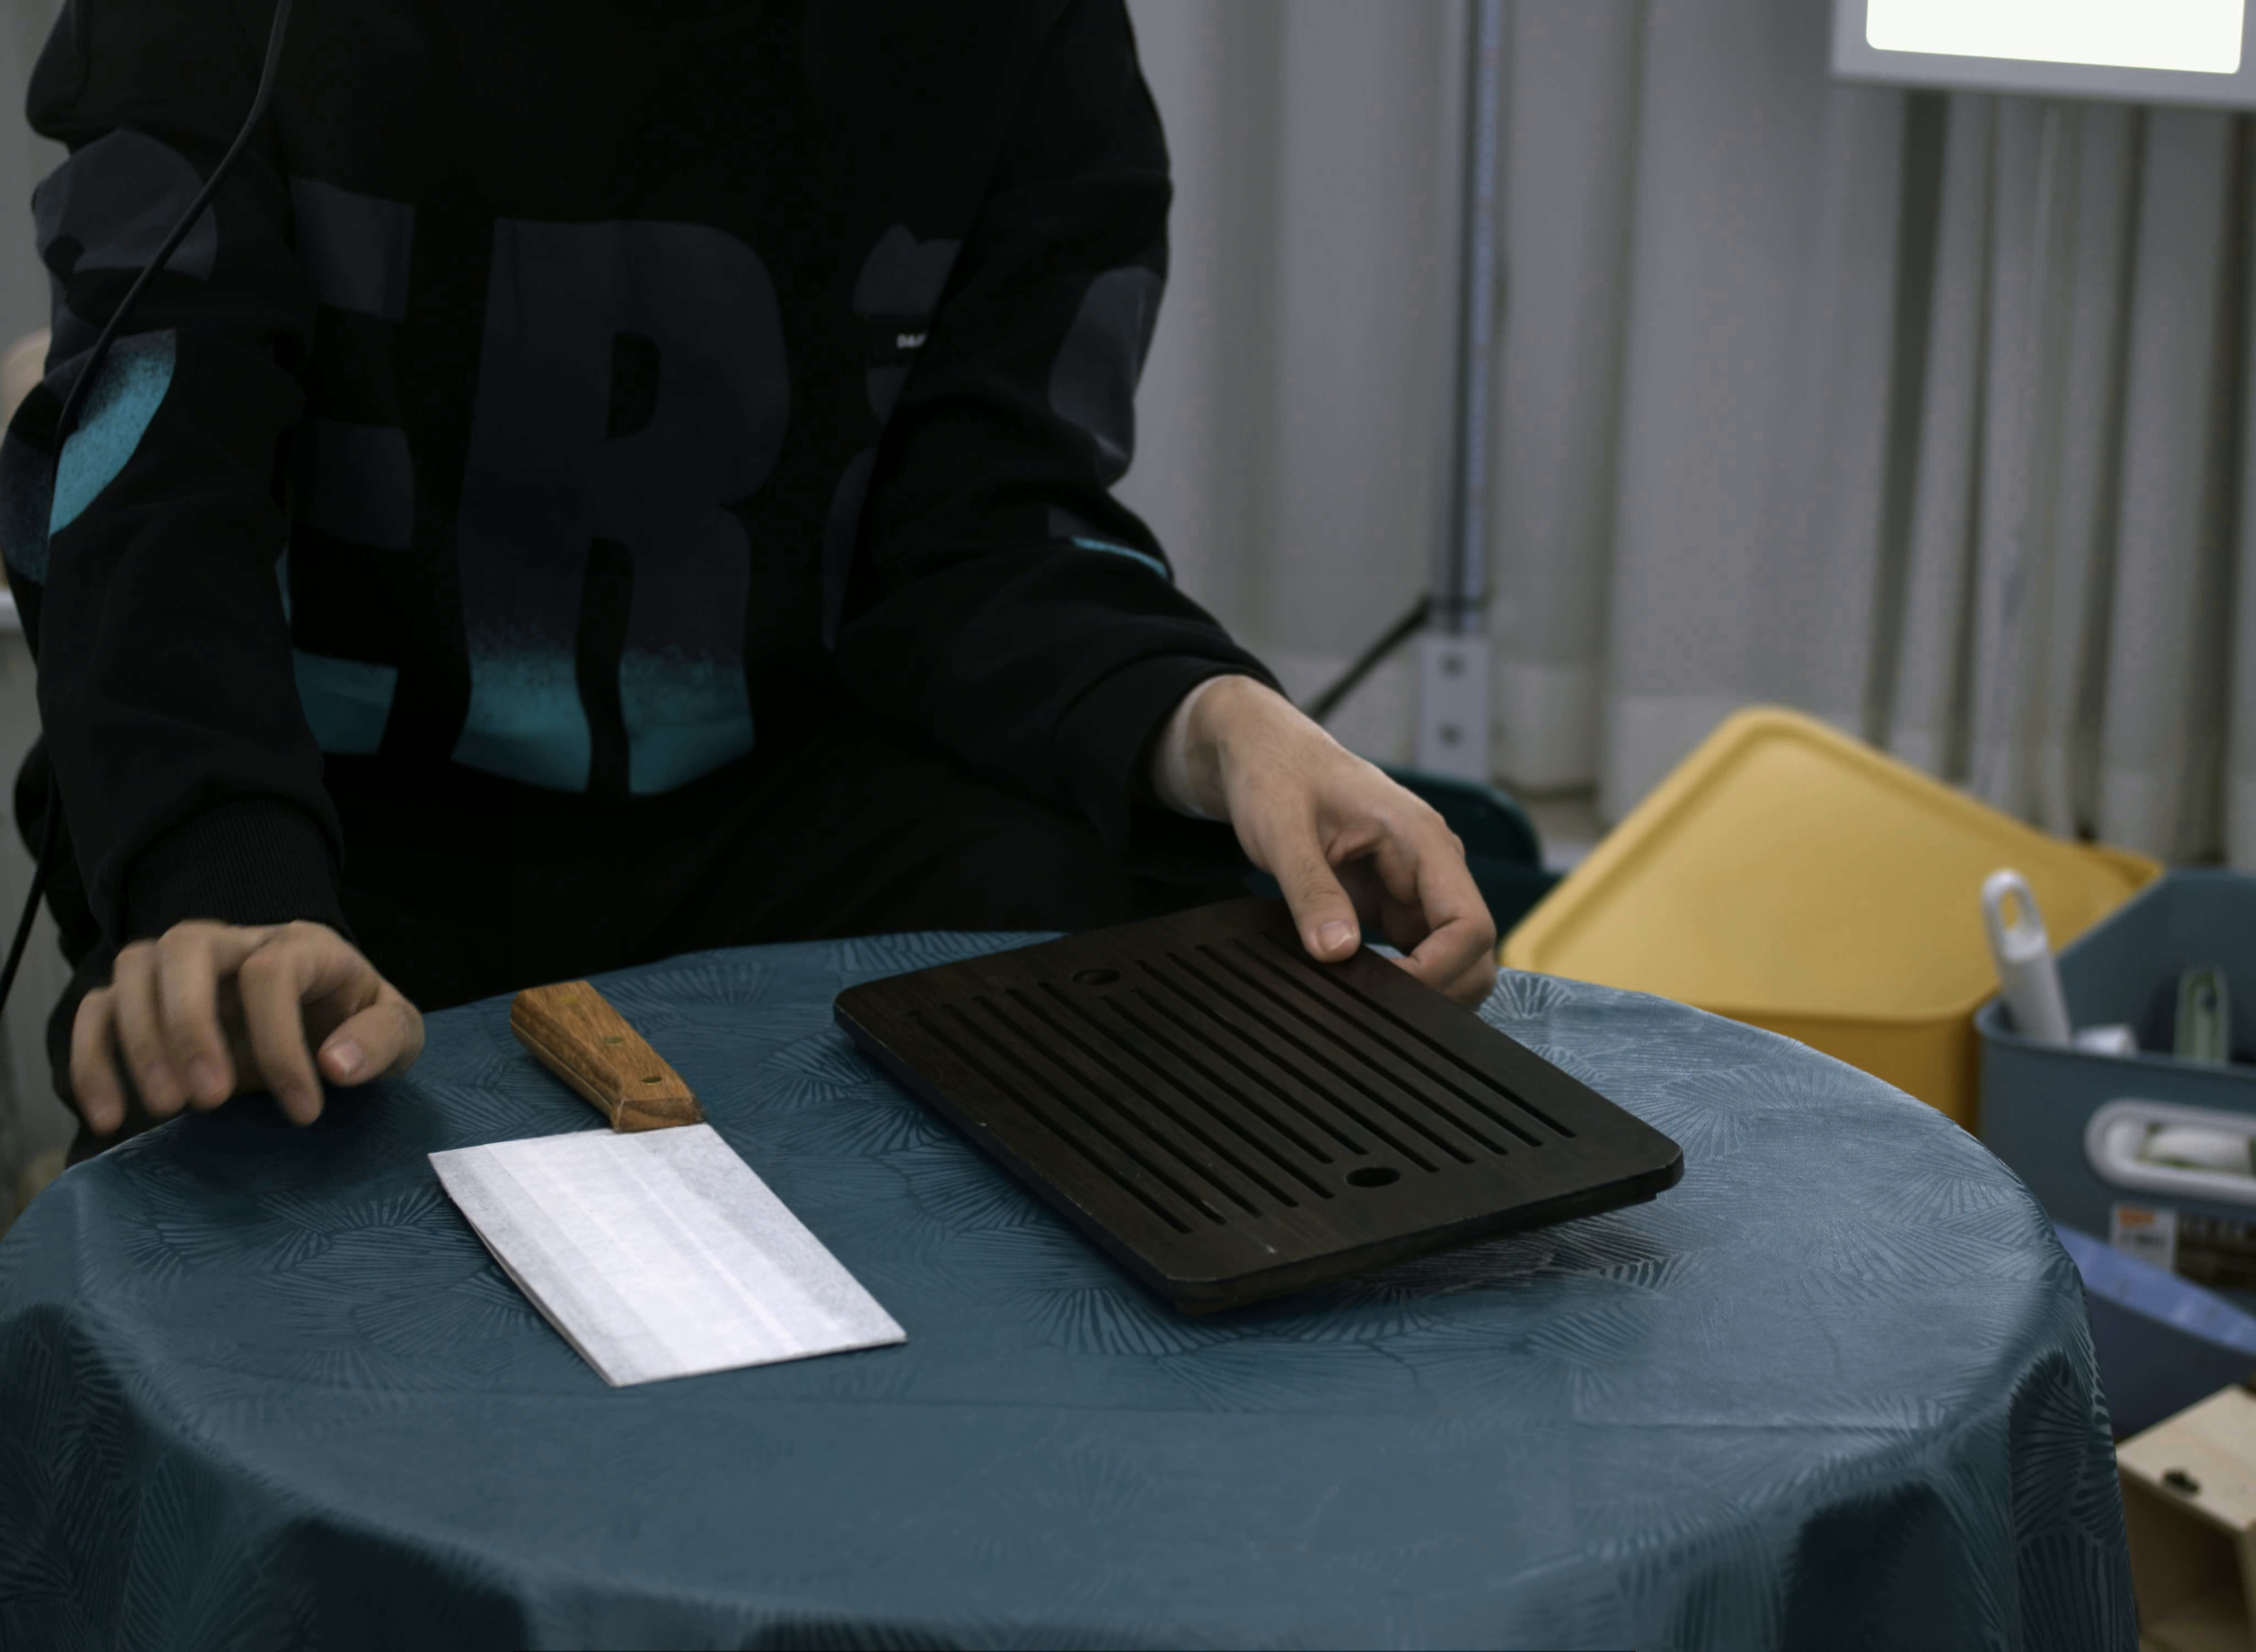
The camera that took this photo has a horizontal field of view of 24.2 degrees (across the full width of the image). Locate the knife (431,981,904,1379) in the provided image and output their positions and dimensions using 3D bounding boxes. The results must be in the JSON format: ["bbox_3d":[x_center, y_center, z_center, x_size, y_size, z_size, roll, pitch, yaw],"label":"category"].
[{"bbox_3d":[-0.160,0.107,1.609,0.093,0.021,0.302,-8,20,-22],"label":"knife"}]

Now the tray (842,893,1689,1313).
[{"bbox_3d":[0.036,0.083,1.665,0.170,0.019,0.302,-12,19,-20],"label":"tray"}]
